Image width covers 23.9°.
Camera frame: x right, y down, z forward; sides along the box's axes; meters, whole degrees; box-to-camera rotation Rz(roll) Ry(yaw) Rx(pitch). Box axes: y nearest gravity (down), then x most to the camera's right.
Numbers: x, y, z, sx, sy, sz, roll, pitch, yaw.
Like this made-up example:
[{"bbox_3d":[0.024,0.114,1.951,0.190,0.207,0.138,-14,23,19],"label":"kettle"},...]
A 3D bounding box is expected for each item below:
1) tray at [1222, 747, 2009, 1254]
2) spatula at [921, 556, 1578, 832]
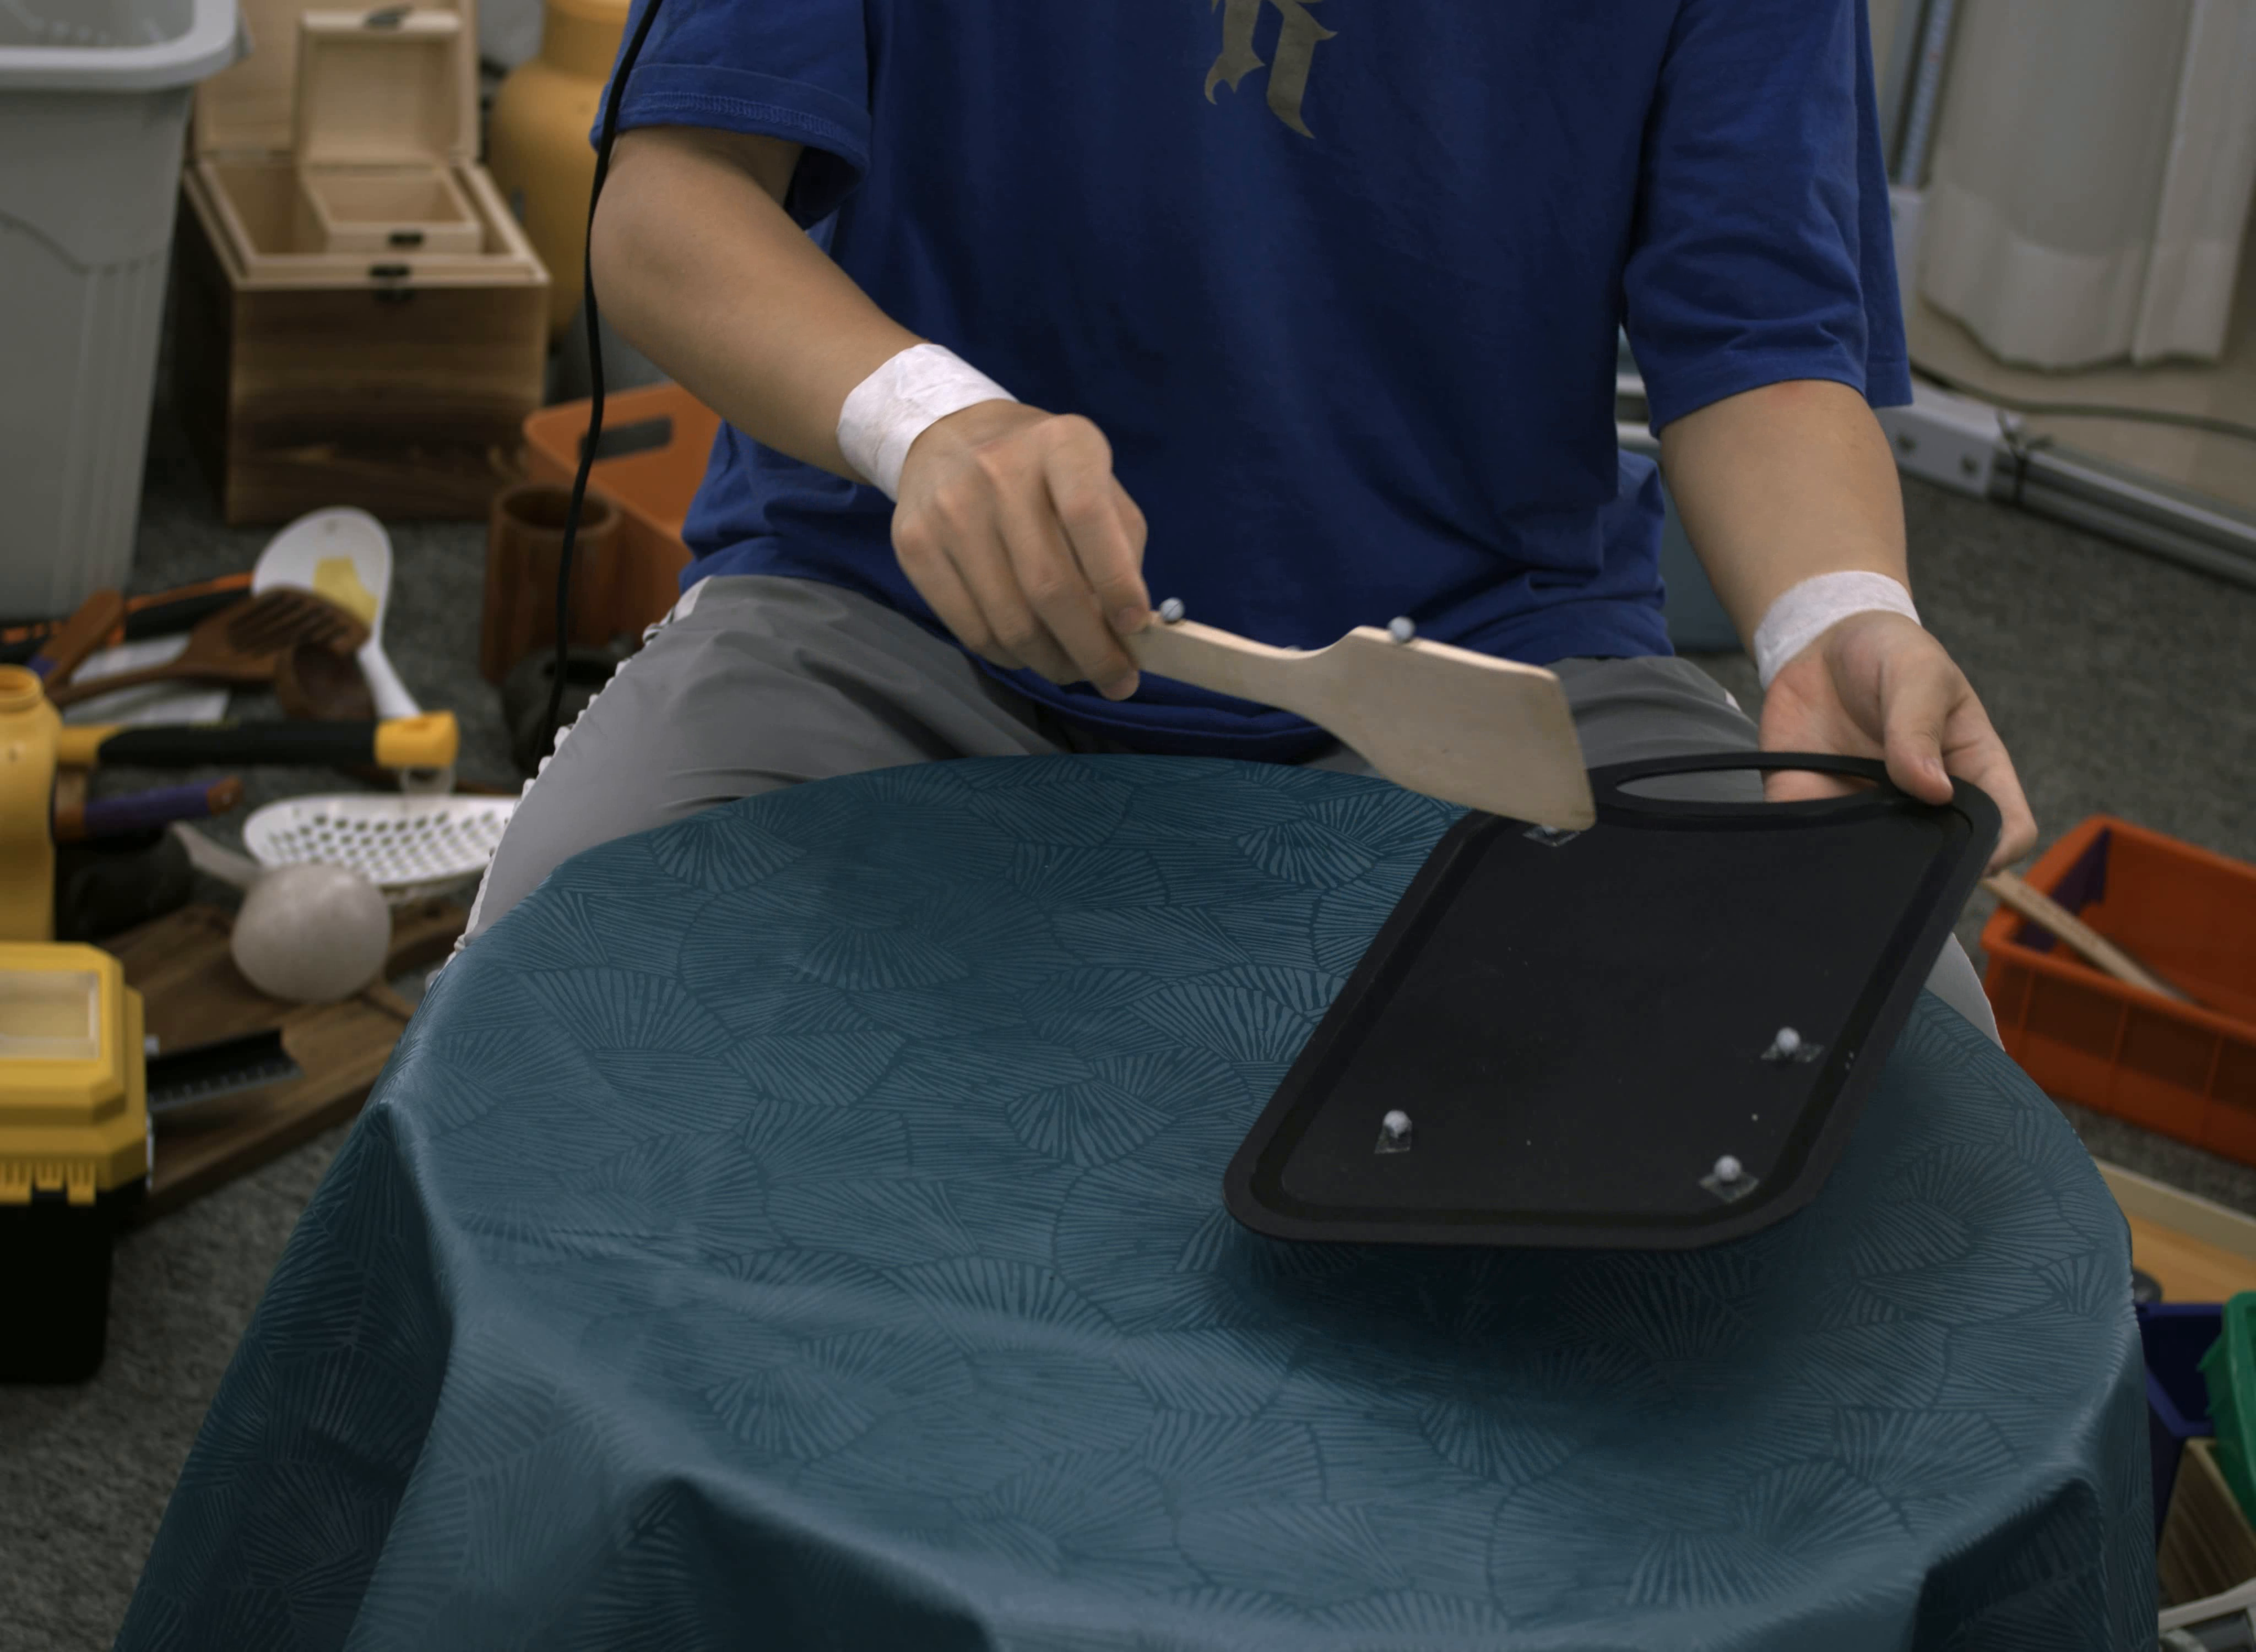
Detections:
[{"bbox_3d":[0.172,0.052,1.816,0.212,0.010,0.326,0,30,27],"label":"tray"},{"bbox_3d":[0.034,-0.057,1.873,0.295,0.072,0.010,18,51,39],"label":"spatula"}]
